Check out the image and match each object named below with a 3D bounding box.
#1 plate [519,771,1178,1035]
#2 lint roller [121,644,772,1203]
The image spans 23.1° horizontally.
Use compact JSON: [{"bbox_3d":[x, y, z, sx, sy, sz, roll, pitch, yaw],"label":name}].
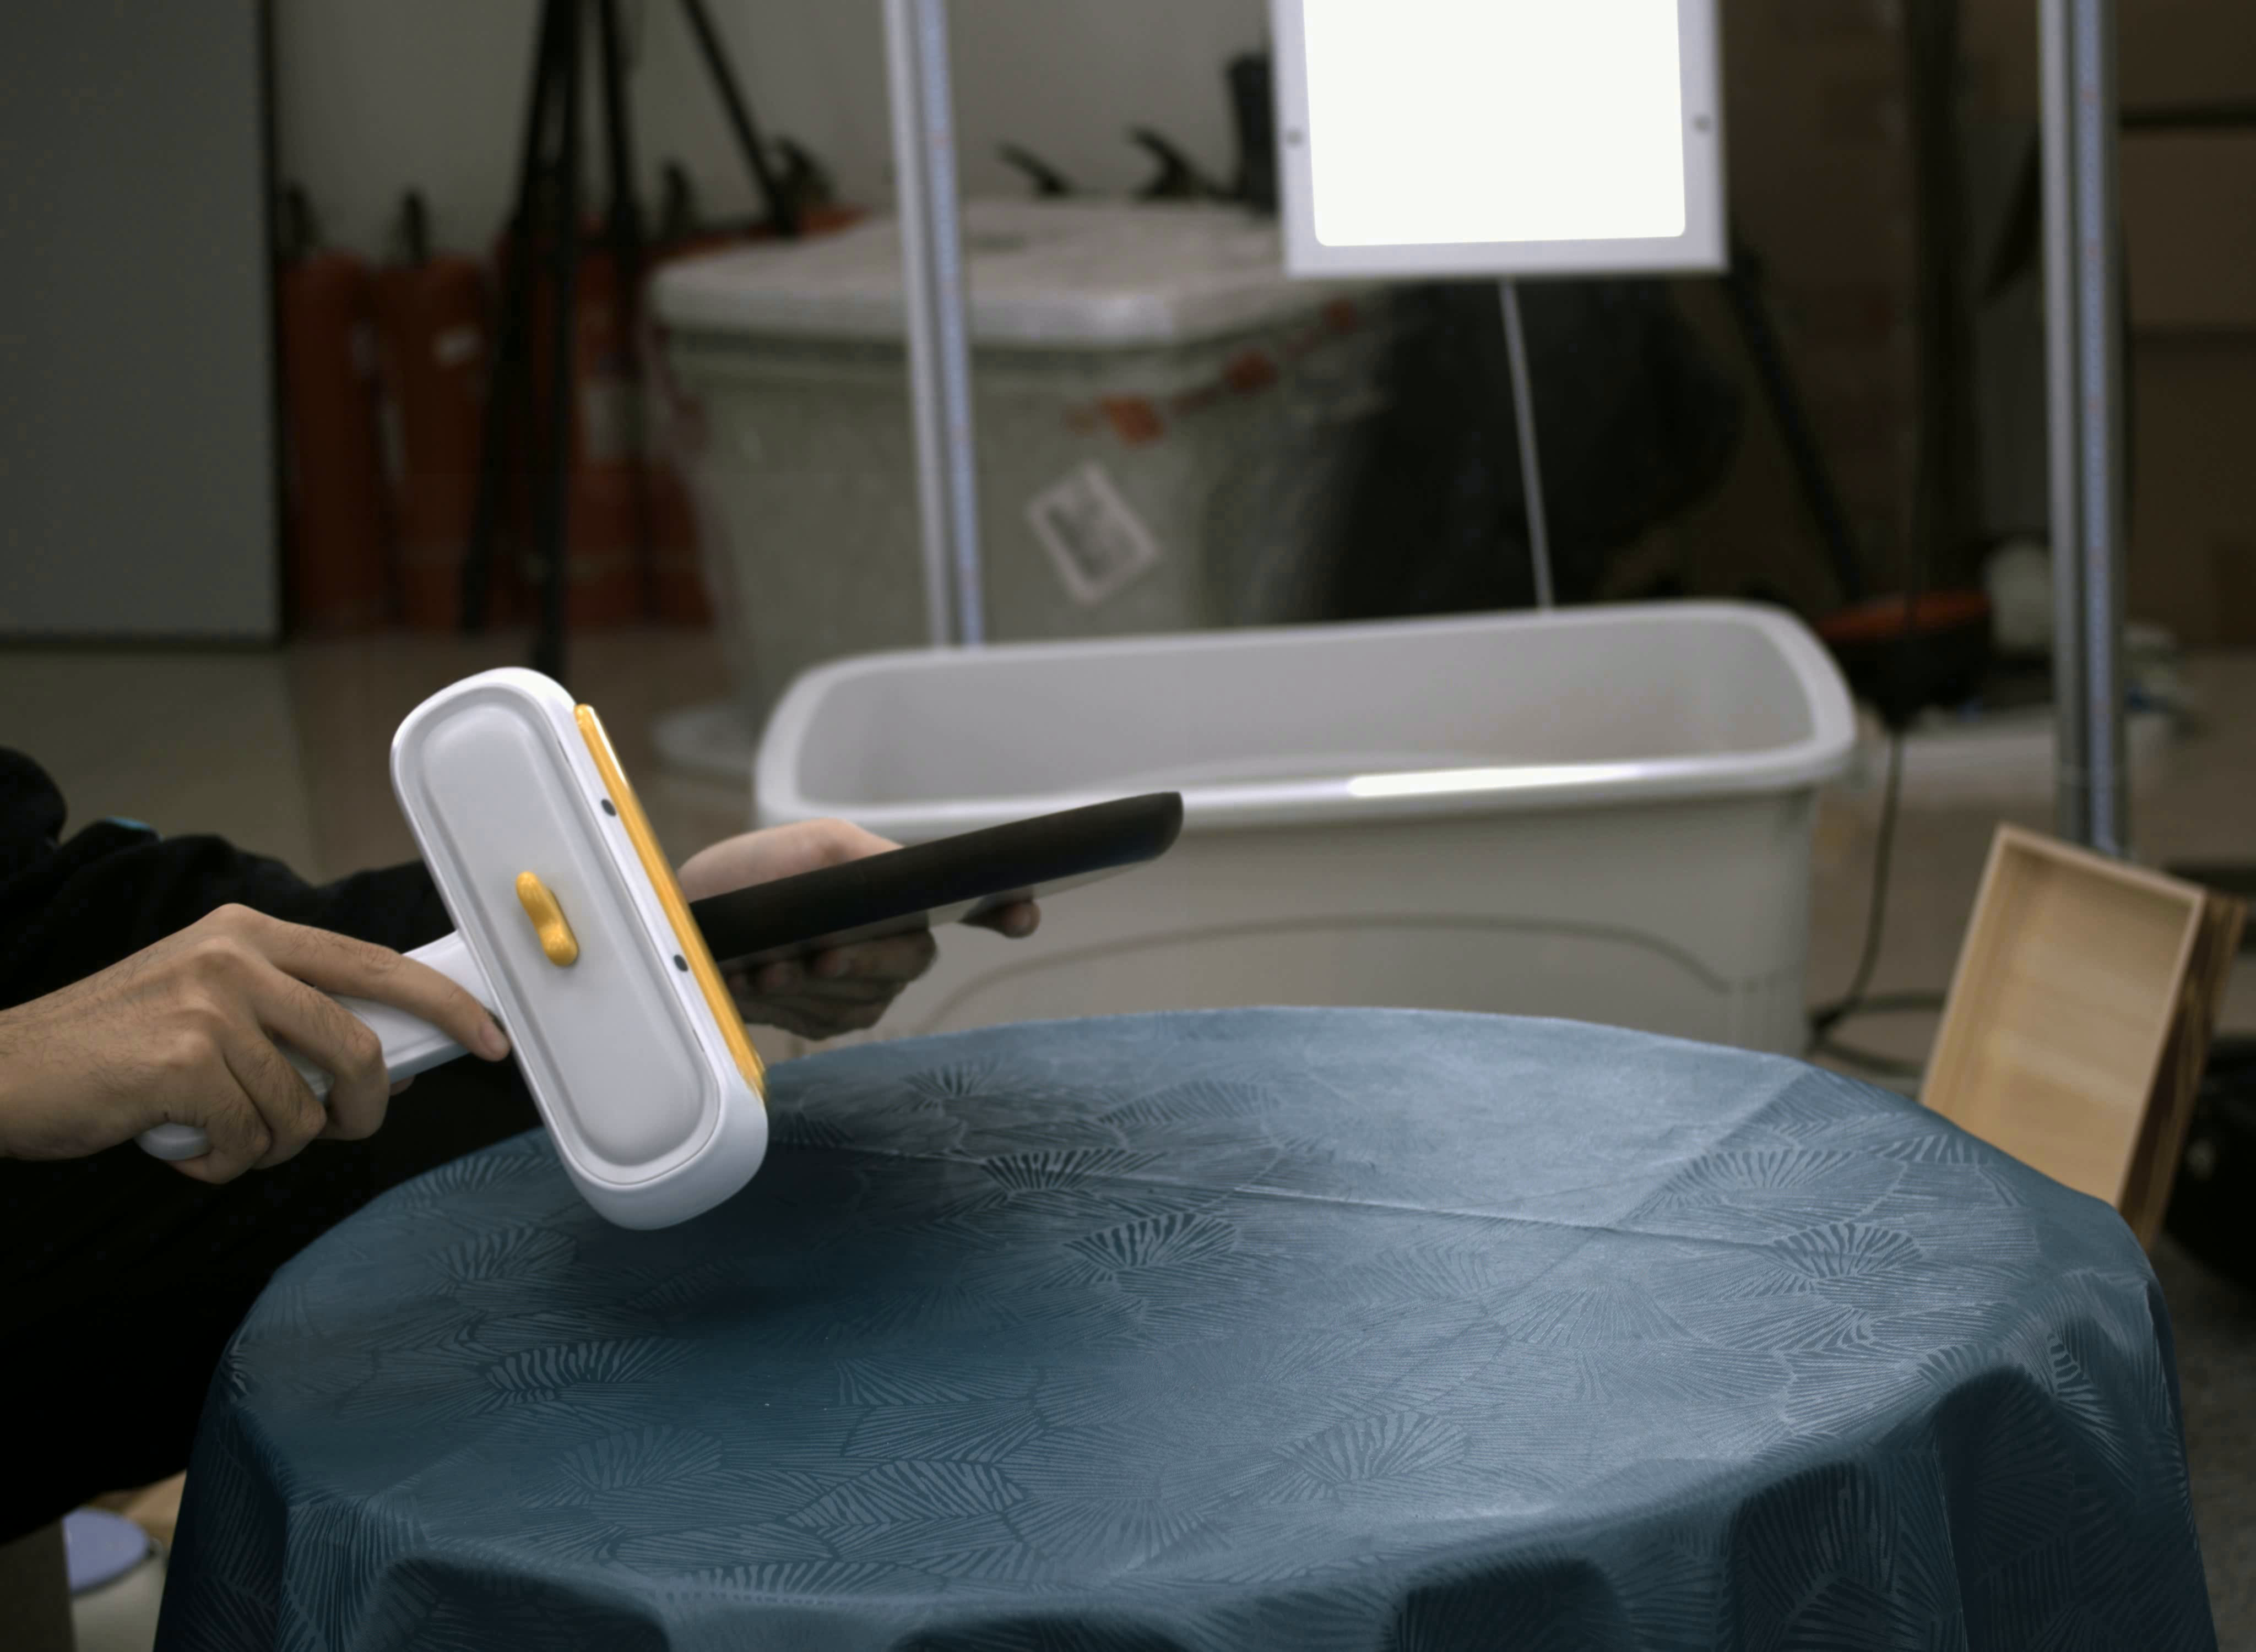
[{"bbox_3d":[-0.103,0.030,1.907,0.254,0.029,0.255,-16,-3,-2],"label":"plate"},{"bbox_3d":[-0.231,0.058,1.767,0.191,0.193,0.074,-29,-10,-3],"label":"lint roller"}]
